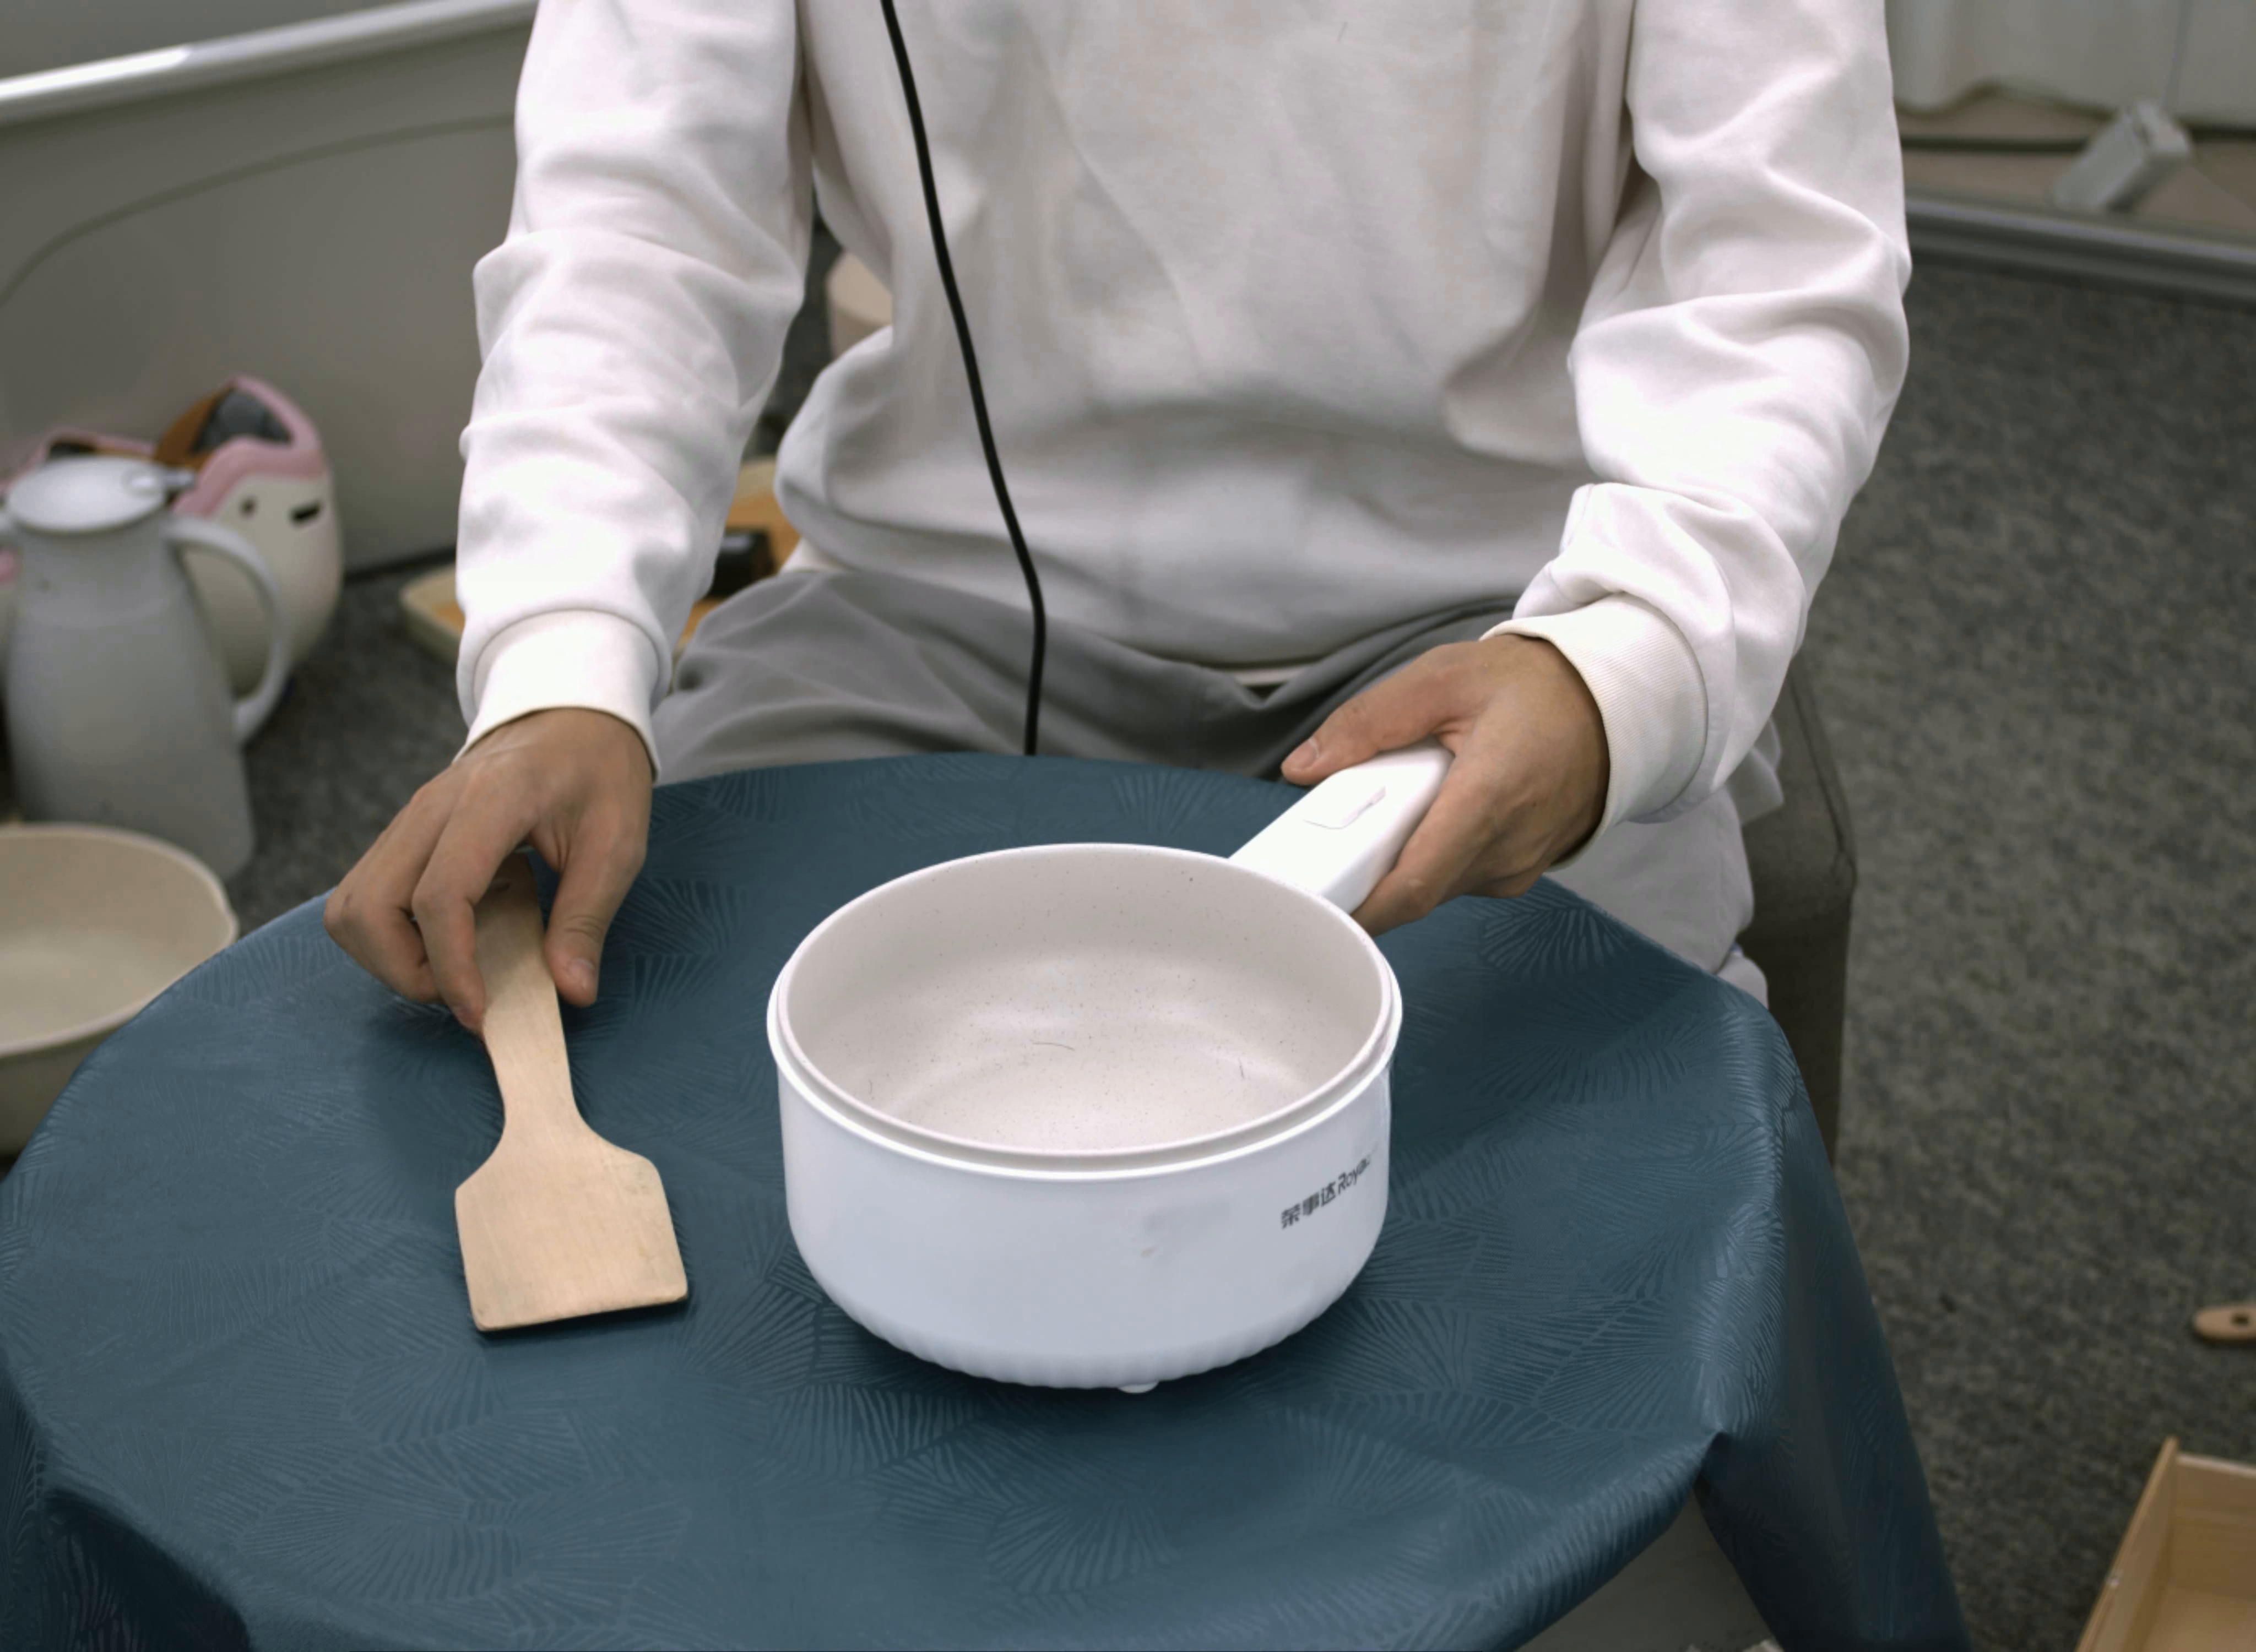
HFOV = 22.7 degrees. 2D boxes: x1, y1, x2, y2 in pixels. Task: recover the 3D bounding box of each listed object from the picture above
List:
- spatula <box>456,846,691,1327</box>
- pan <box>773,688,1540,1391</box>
[{"bbox_3d":[-0.204,0.085,1.927,0.072,0.010,0.297,-8,32,-9],"label":"spatula"},{"bbox_3d":[0.030,0.065,1.854,0.200,0.101,0.360,16,31,29],"label":"pan"}]
